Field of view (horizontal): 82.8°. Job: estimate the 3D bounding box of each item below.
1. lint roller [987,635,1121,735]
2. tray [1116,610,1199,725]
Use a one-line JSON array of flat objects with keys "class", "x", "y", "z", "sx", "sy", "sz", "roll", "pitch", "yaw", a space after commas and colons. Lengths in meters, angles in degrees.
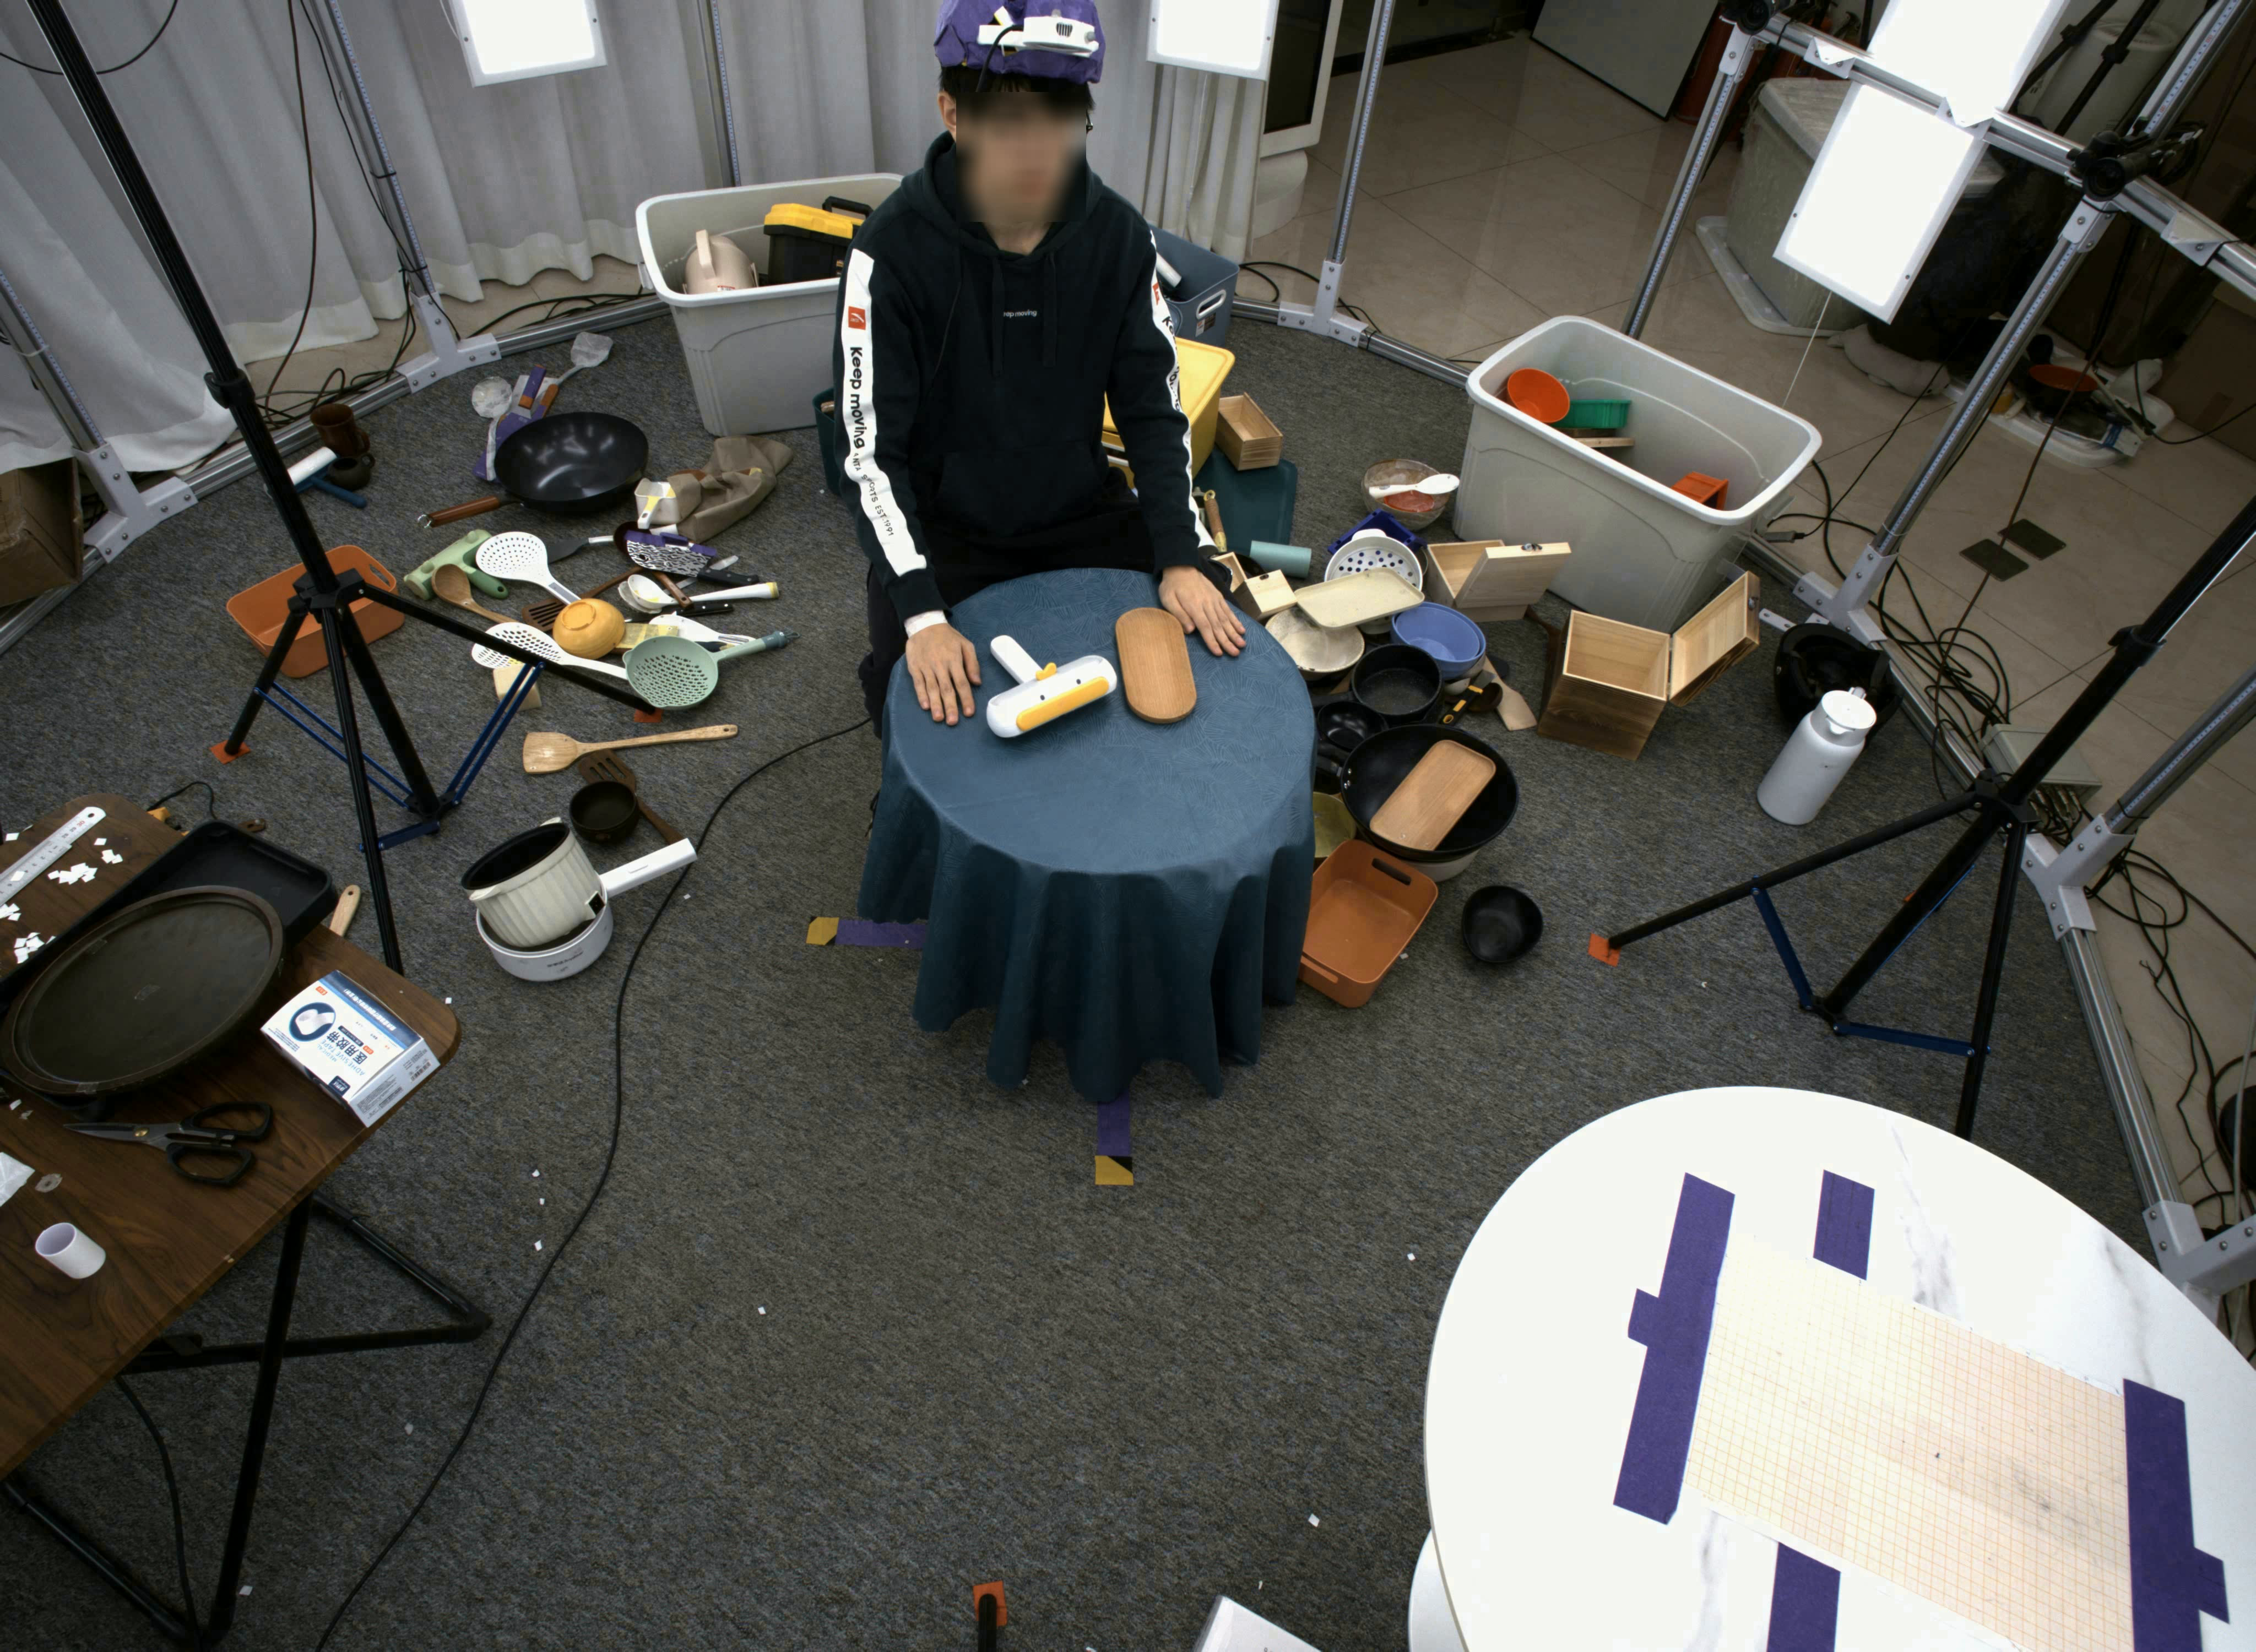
[{"class": "lint roller", "x": -0.134, "y": -0.213, "z": 1.813, "sx": 0.194, "sy": 0.072, "sz": 0.196, "roll": -33, "pitch": 39, "yaw": -21}, {"class": "tray", "x": 0.041, "y": -0.233, "z": 1.862, "sx": 0.101, "sy": 0.020, "sz": 0.237, "roll": -4, "pitch": 51, "yaw": -6}]
